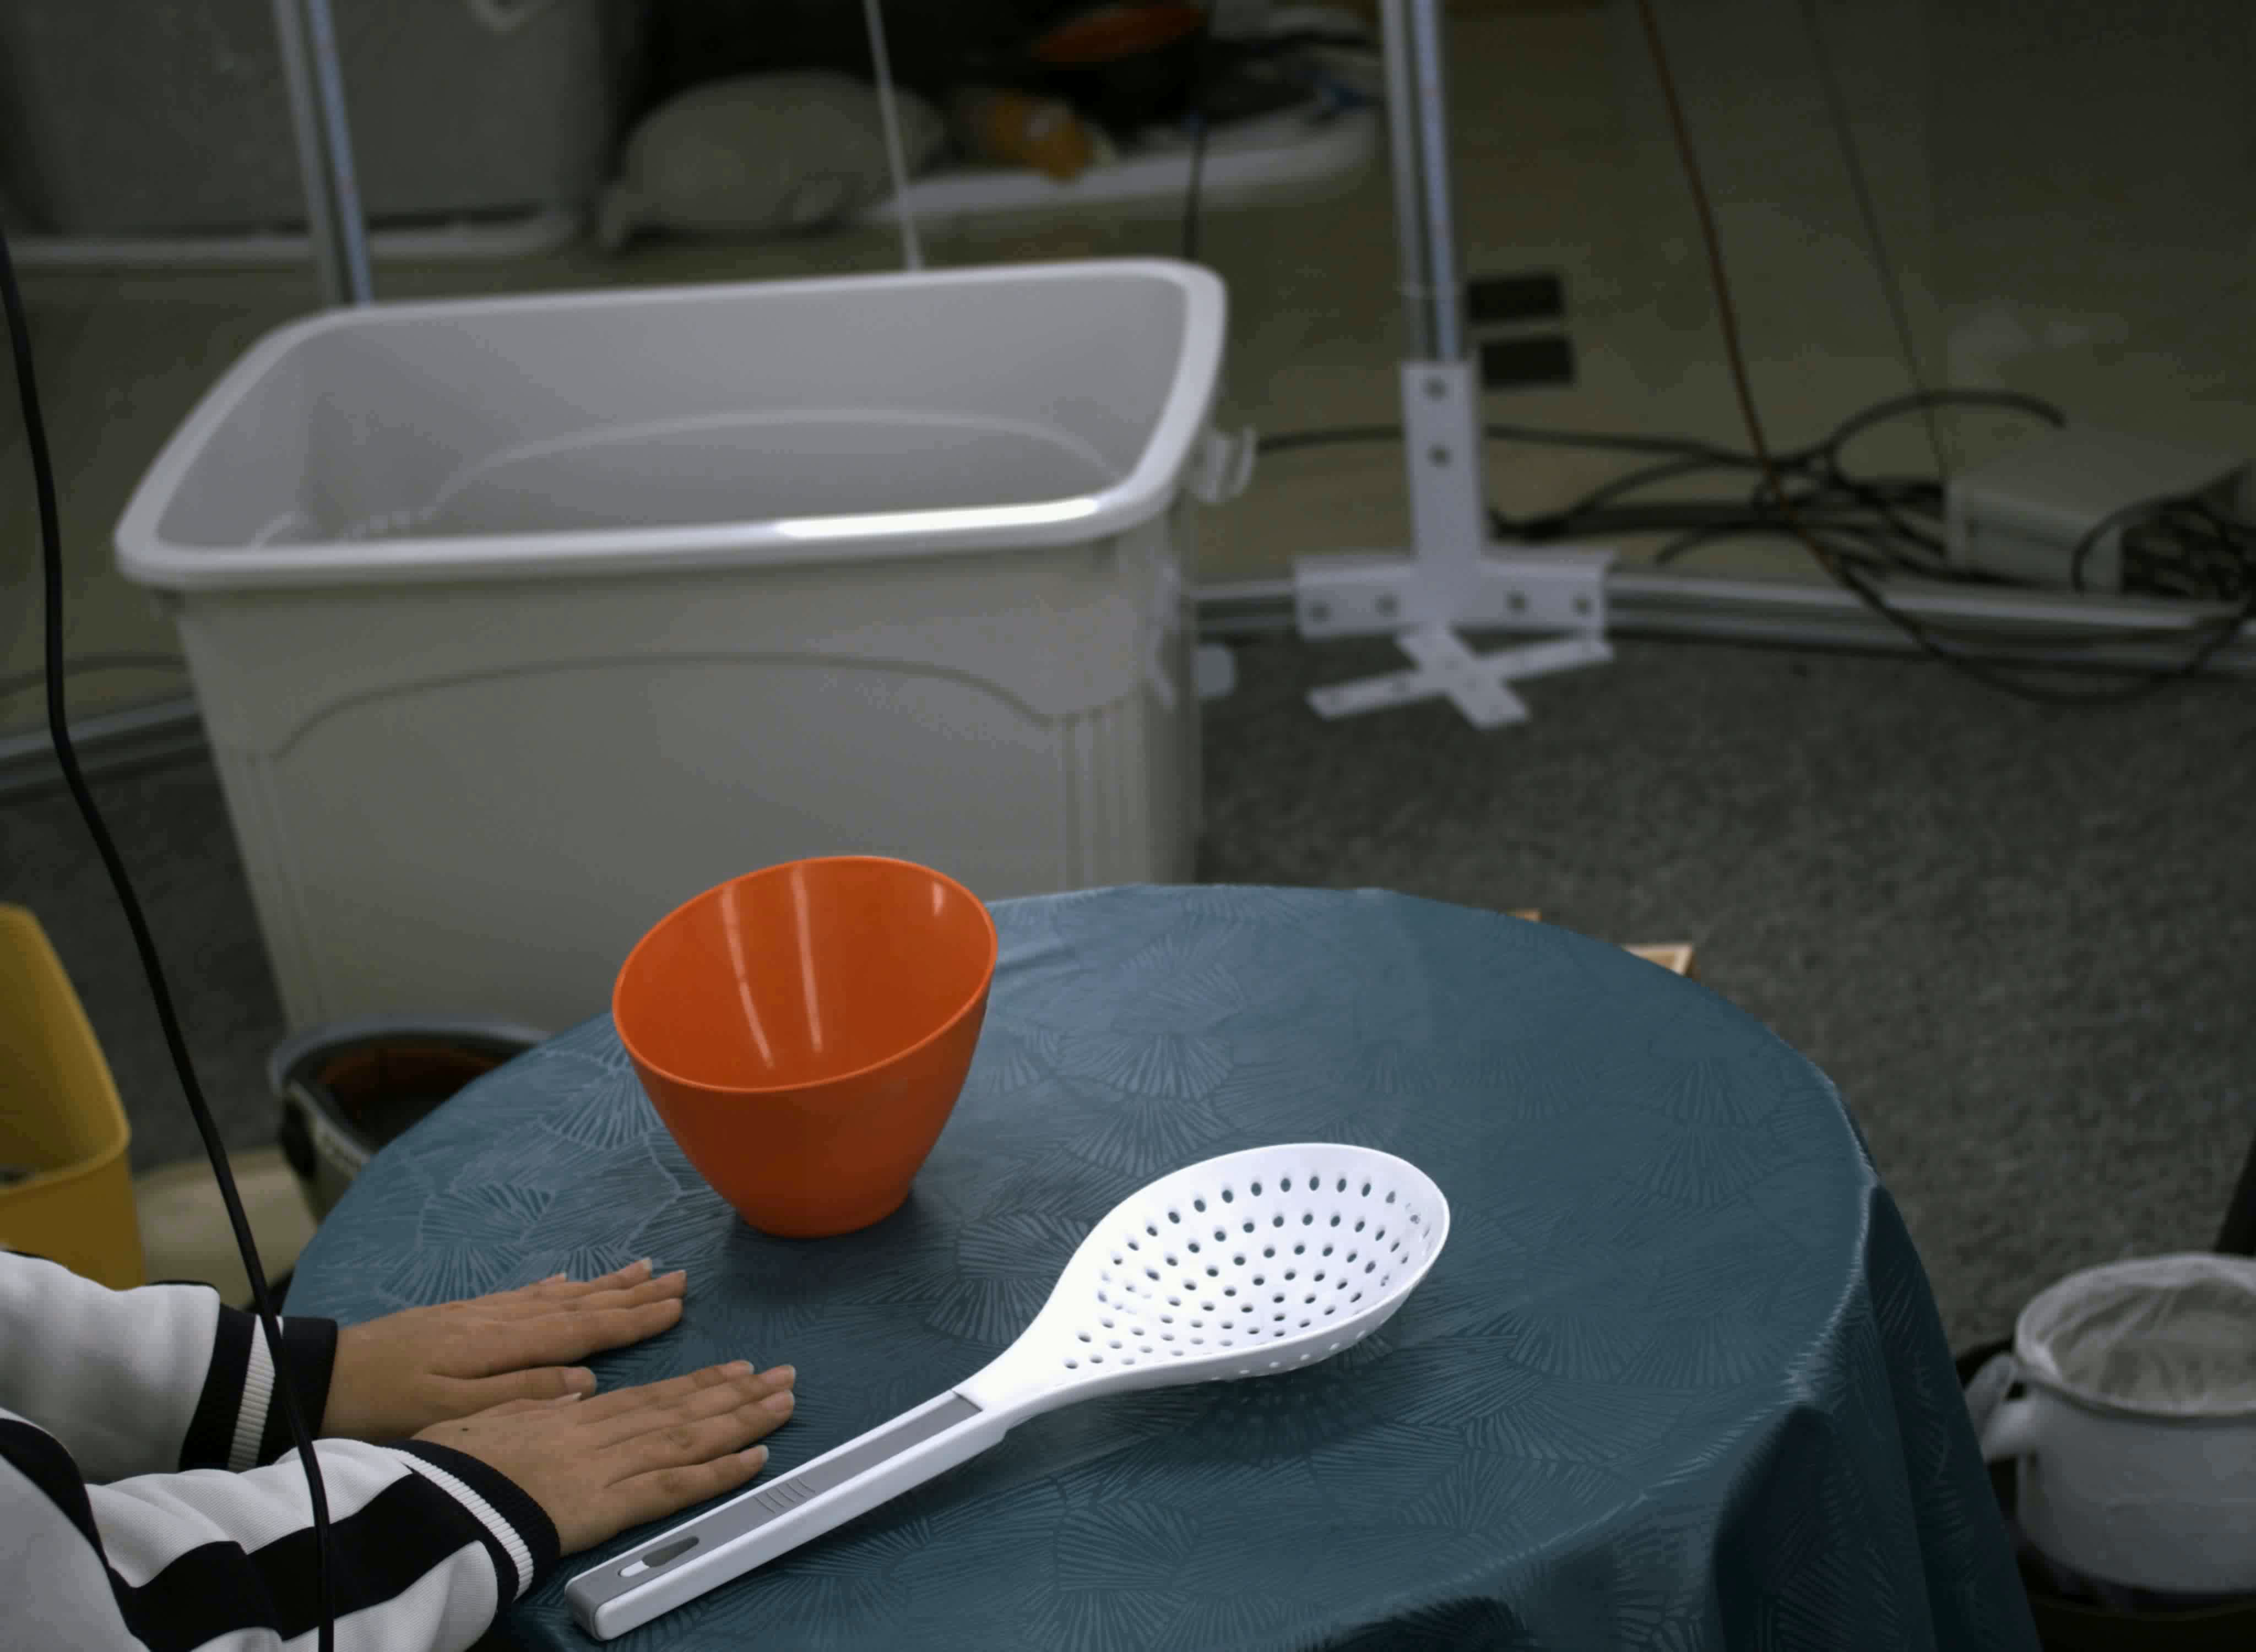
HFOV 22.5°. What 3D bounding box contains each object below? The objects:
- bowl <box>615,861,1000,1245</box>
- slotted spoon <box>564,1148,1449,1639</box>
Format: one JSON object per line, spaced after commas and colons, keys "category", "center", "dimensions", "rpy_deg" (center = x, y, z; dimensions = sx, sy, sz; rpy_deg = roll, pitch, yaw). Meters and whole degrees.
{"category": "bowl", "center": [-0.118, 0.093, 2.157], "dimensions": [0.148, 0.106, 0.146], "rpy_deg": [-4, 27, 2]}
{"category": "slotted spoon", "center": [-0.040, 0.198, 1.978], "dimensions": [0.348, 0.046, 0.134], "rpy_deg": [-21, 27, -26]}
